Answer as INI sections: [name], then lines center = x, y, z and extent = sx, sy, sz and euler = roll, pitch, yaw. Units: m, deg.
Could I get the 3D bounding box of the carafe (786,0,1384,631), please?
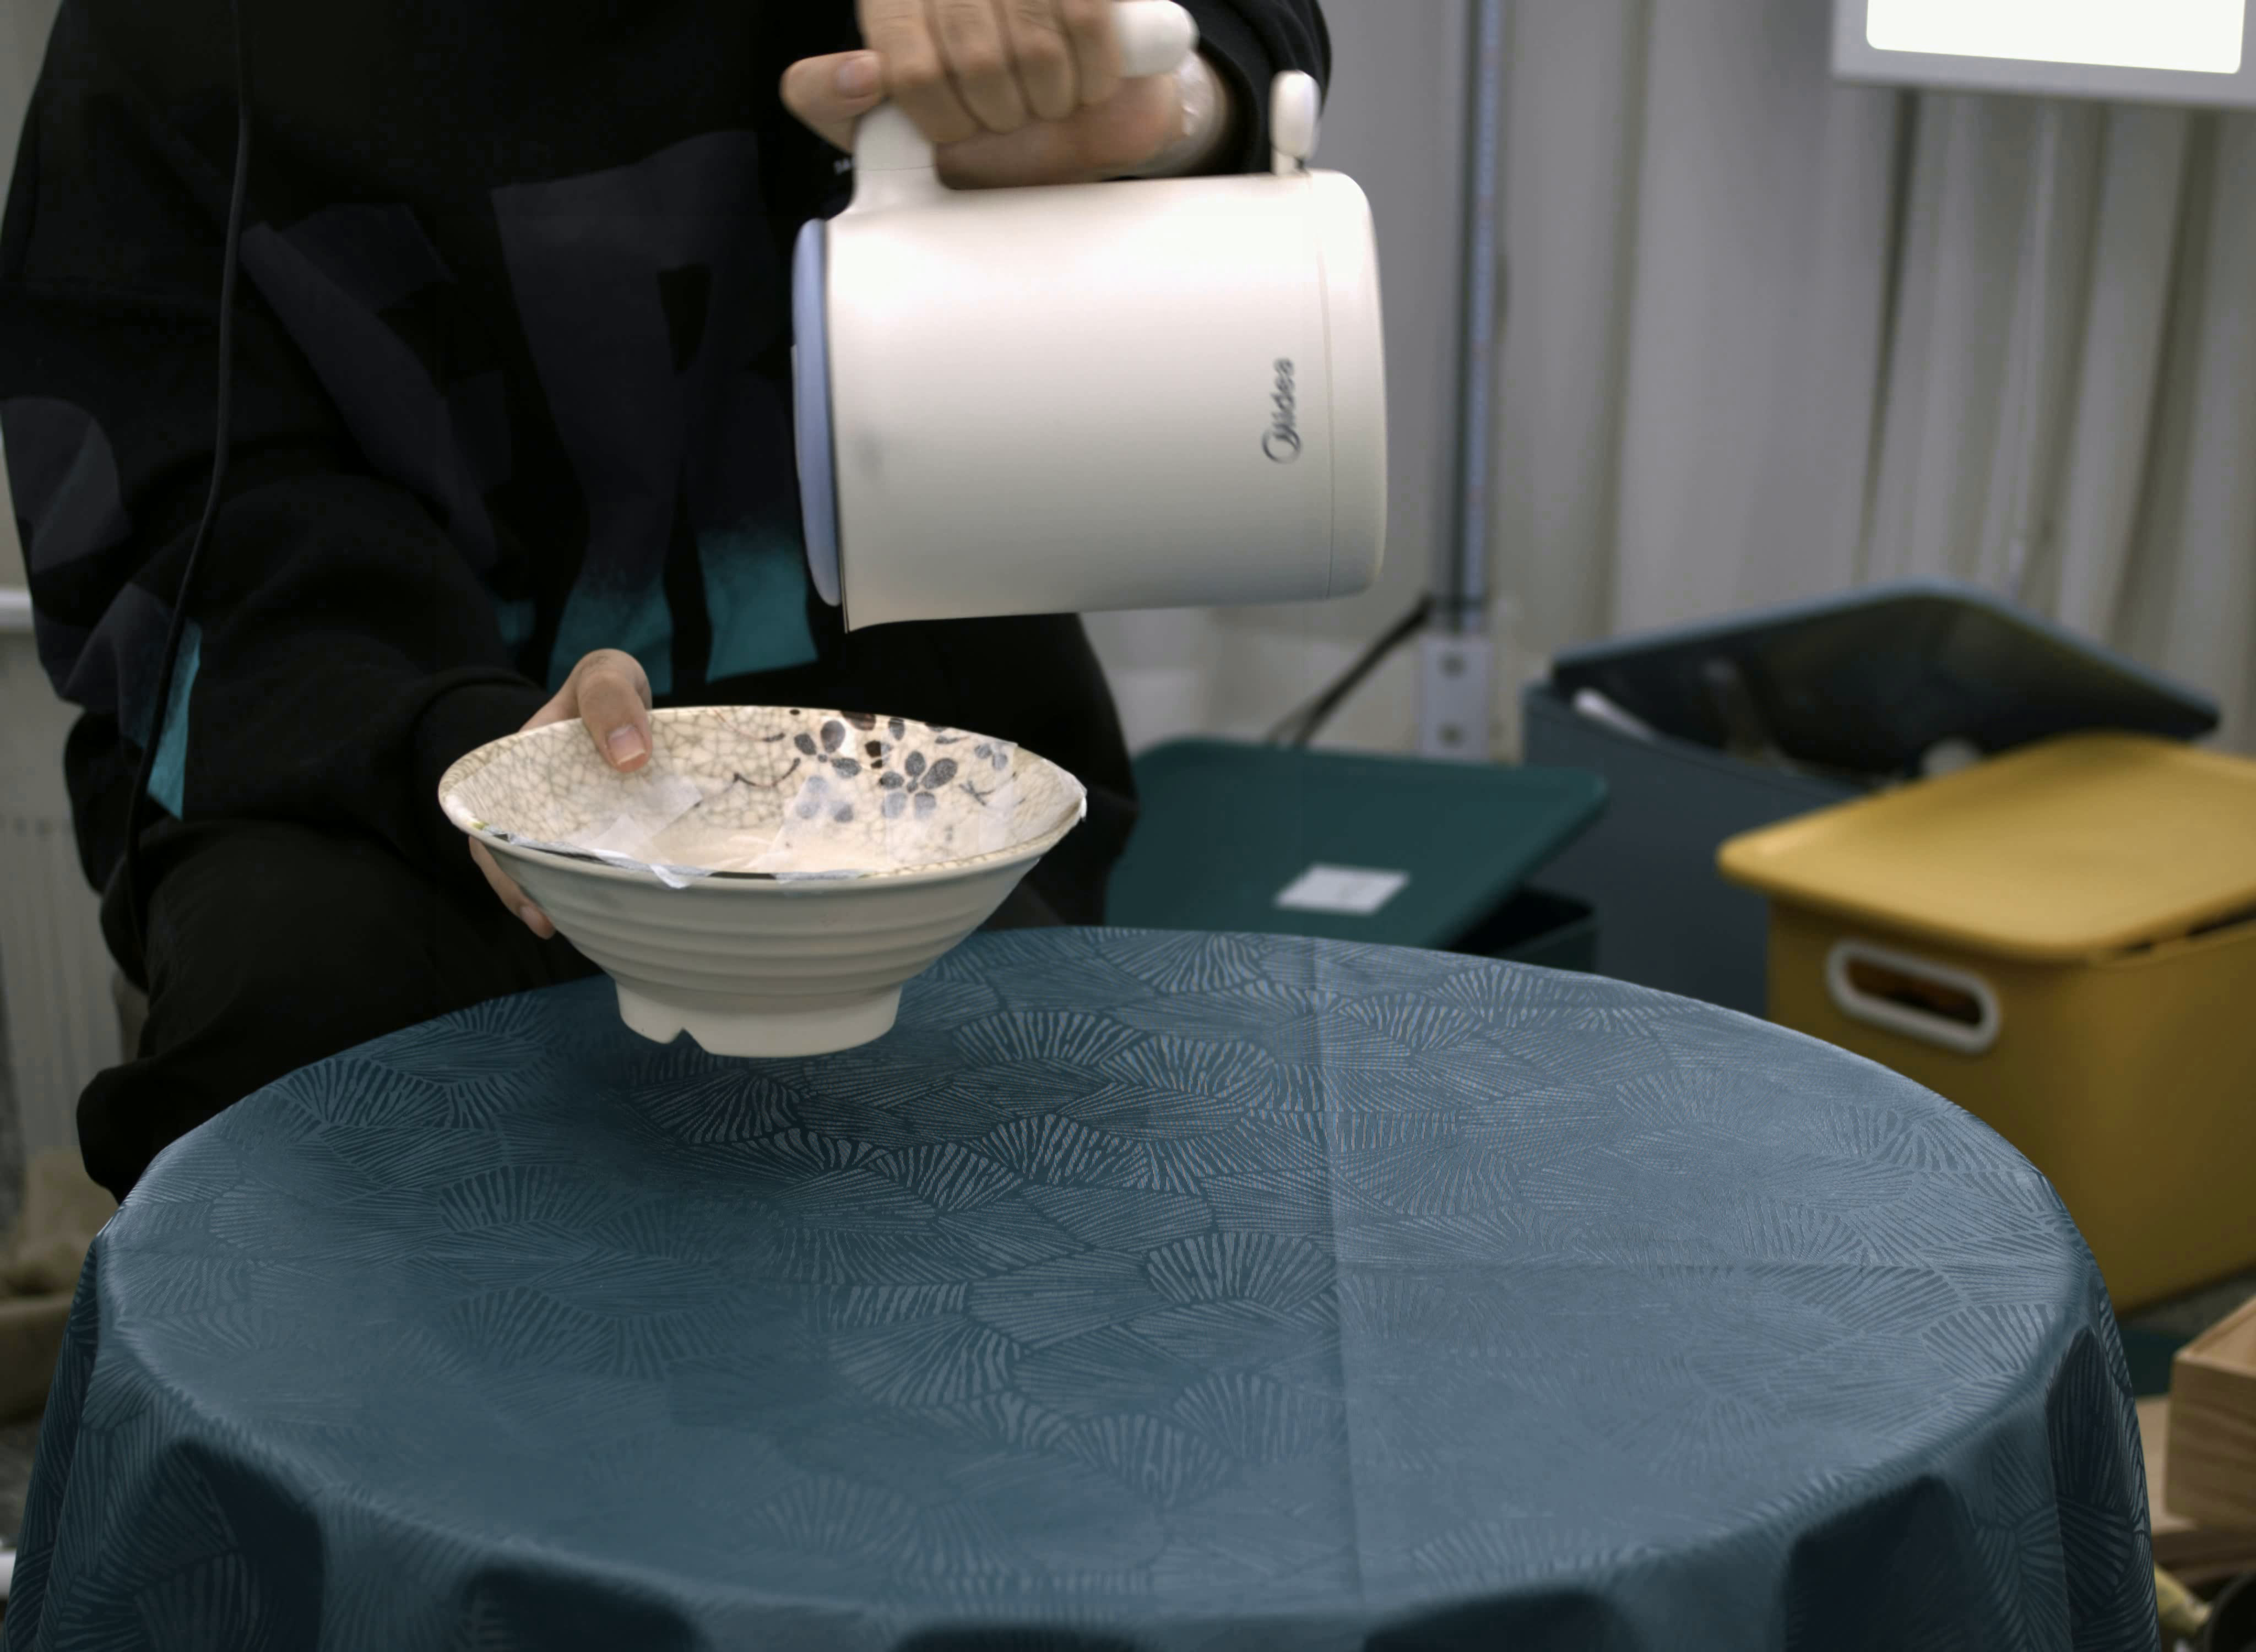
[carafe]
center = -0.013, -0.156, 1.598
extent = 0.182, 0.192, 0.131
euler = -2, 9, -3

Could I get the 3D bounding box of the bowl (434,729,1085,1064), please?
[bowl]
center = -0.116, 0.026, 1.653
extent = 0.203, 0.078, 0.203
euler = 3, 12, 0
